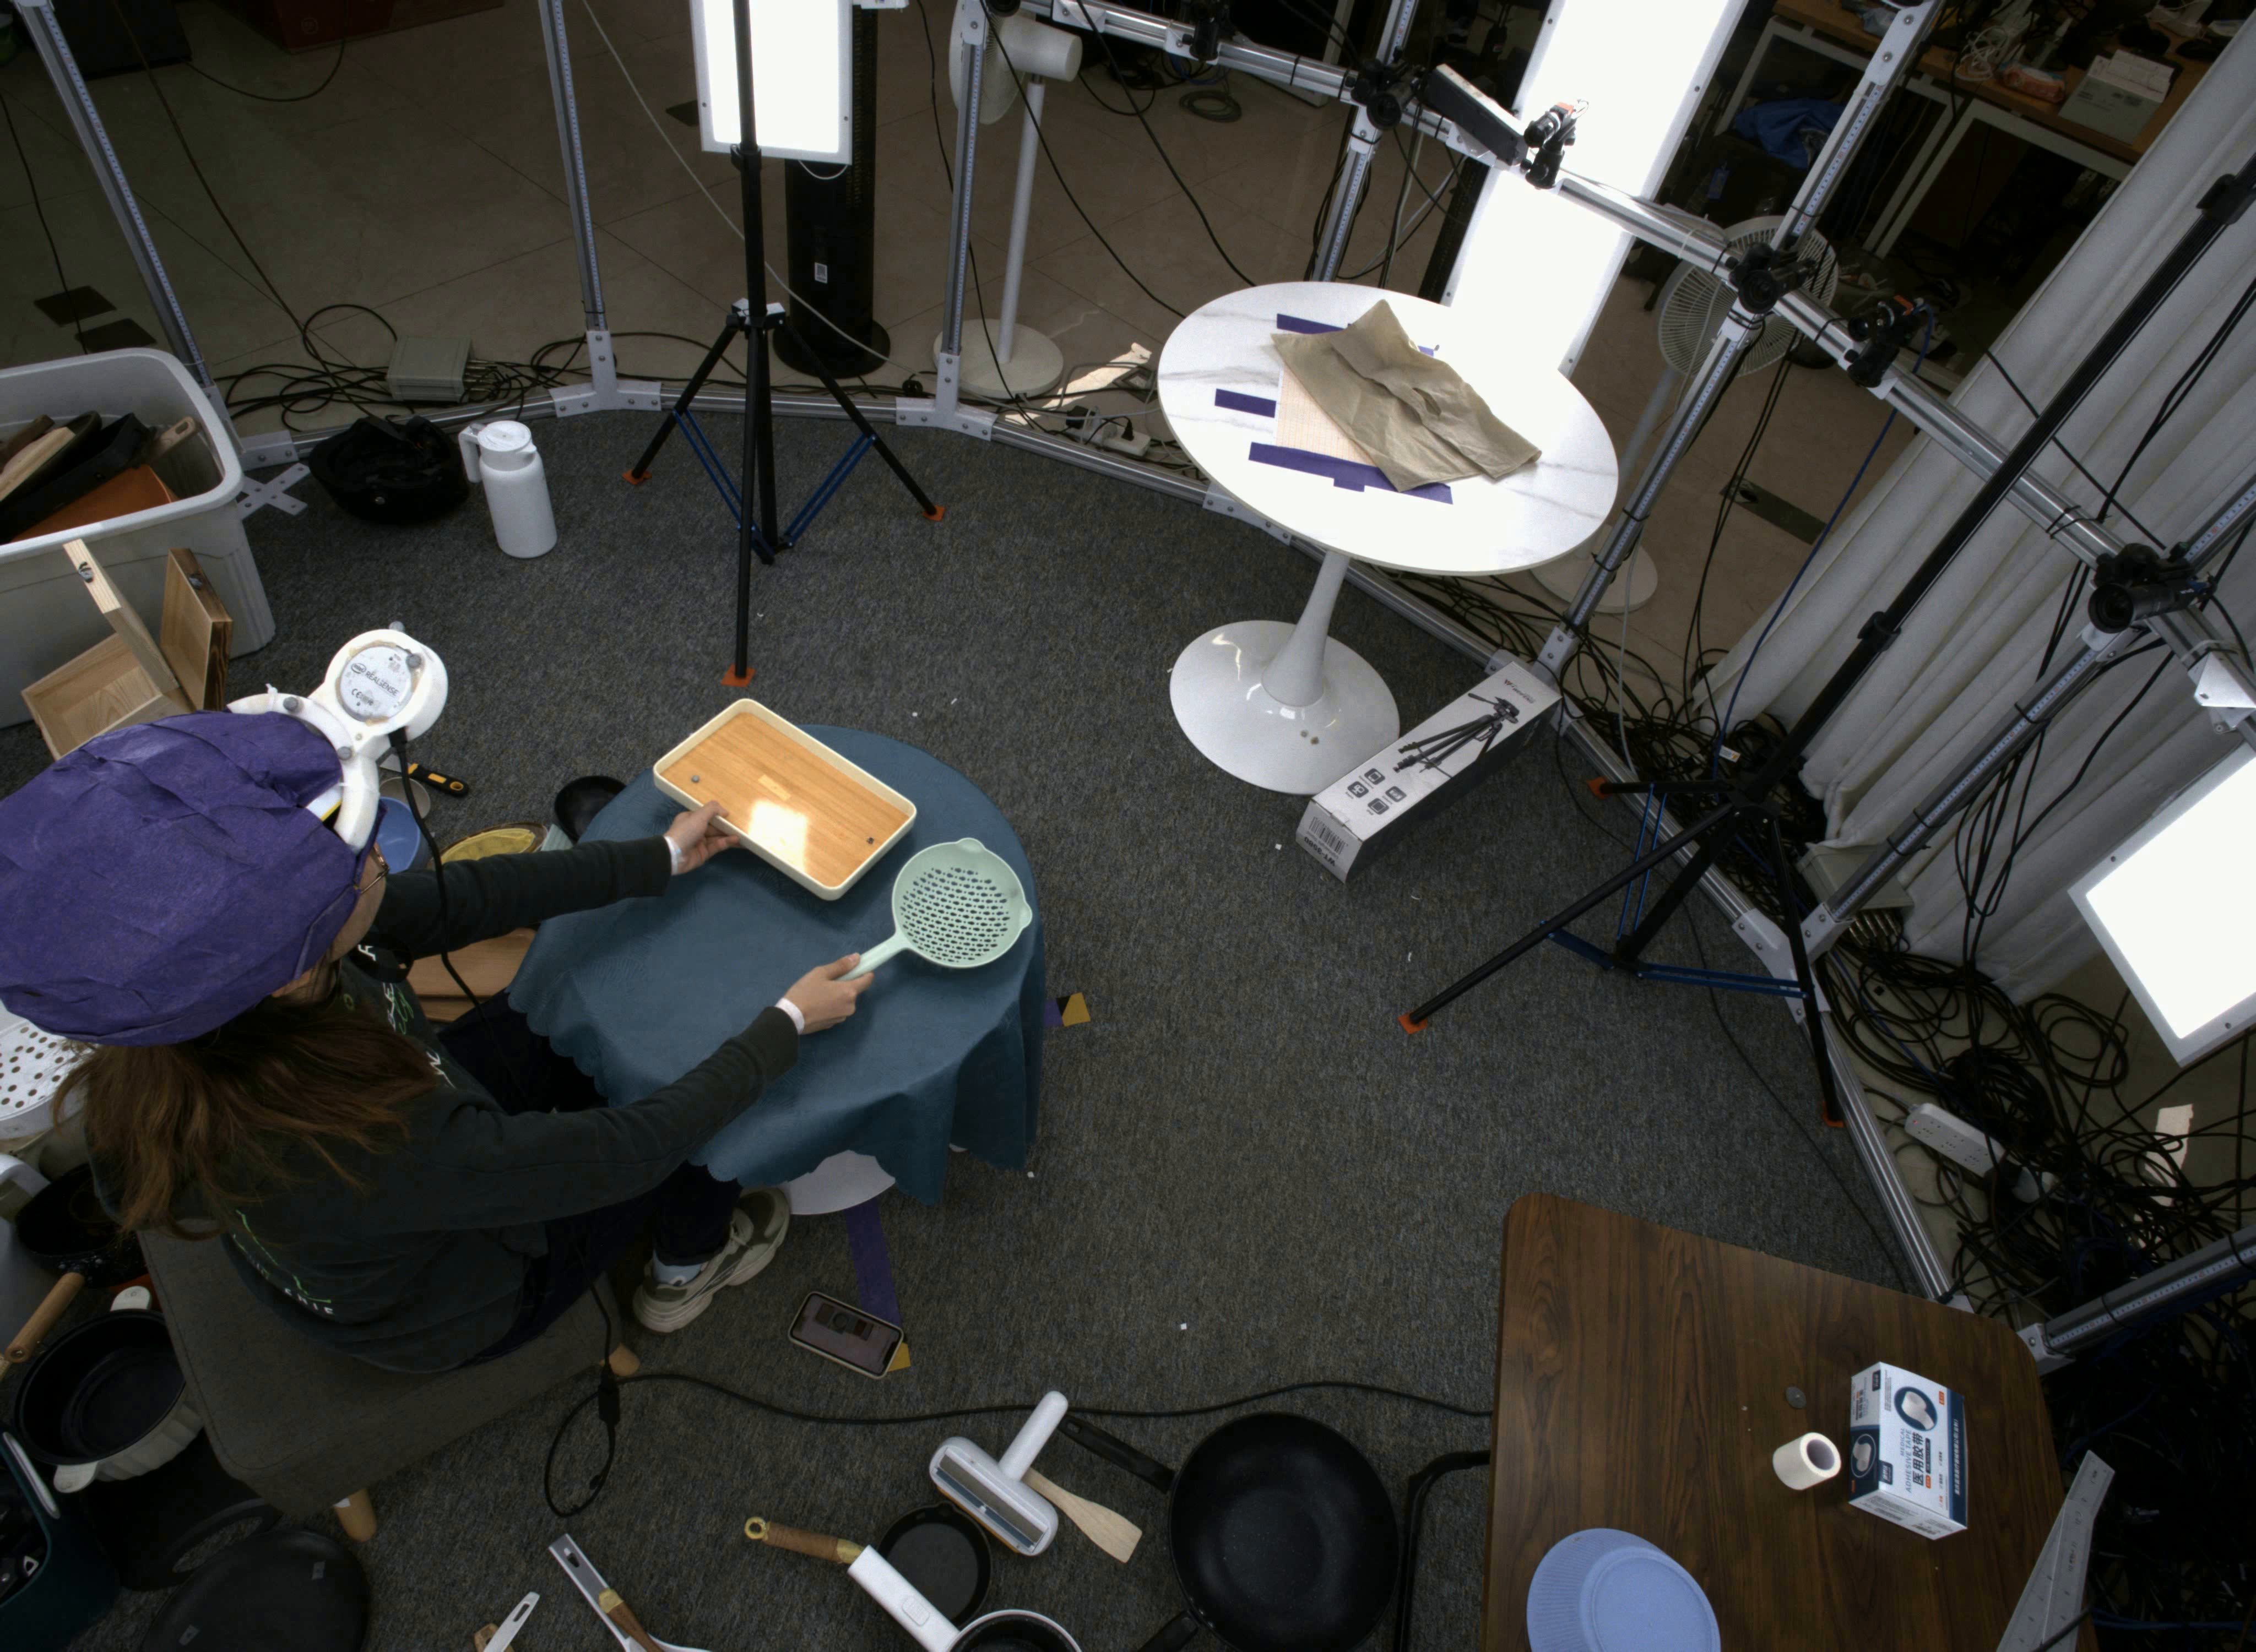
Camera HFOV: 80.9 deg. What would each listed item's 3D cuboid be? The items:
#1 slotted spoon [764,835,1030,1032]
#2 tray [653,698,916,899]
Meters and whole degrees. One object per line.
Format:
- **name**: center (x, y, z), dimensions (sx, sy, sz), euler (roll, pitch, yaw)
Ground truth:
- **slotted spoon**: center (-0.288, 0.145, 1.599), dimensions (0.360, 0.075, 0.168), euler (-31, 78, -37)
- **tray**: center (-0.447, -0.041, 1.688), dimensions (0.296, 0.028, 0.191), euler (32, 47, 6)
